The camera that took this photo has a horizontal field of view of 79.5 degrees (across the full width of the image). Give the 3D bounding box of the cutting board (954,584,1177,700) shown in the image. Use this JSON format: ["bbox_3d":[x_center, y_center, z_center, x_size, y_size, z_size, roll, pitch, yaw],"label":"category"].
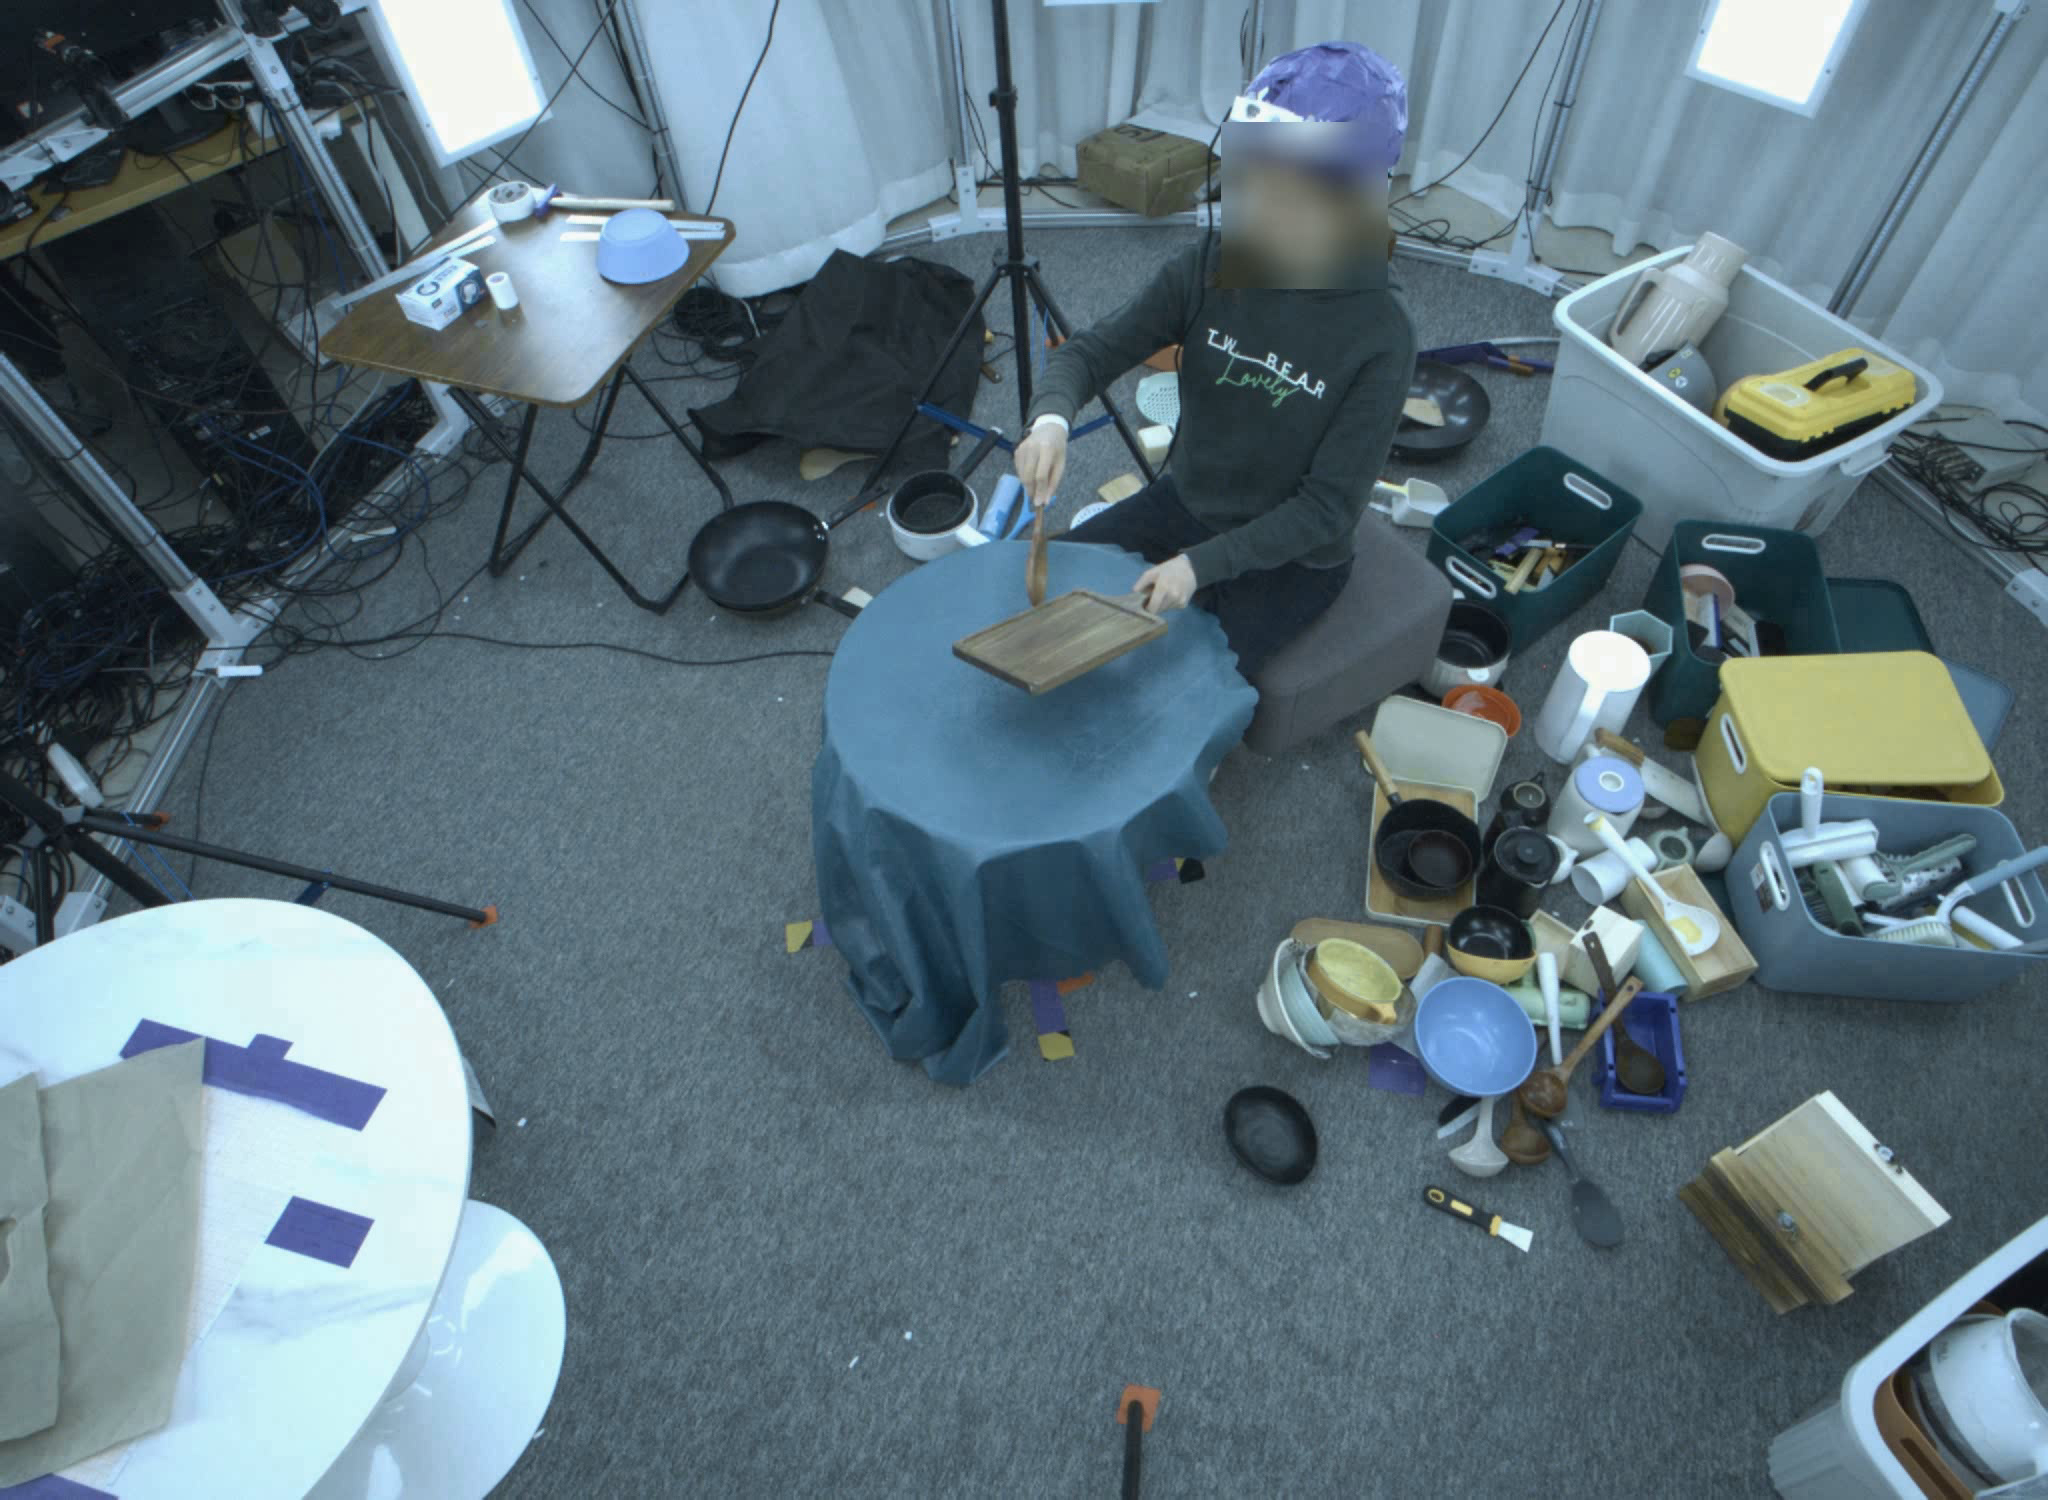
[{"bbox_3d":[0.093,-0.172,1.781,0.356,0.023,0.196,-27,36,-31],"label":"cutting board"}]

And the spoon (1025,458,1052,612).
[{"bbox_3d":[0.021,-0.301,1.711,0.017,0.076,0.216,7,96,23],"label":"spoon"}]
